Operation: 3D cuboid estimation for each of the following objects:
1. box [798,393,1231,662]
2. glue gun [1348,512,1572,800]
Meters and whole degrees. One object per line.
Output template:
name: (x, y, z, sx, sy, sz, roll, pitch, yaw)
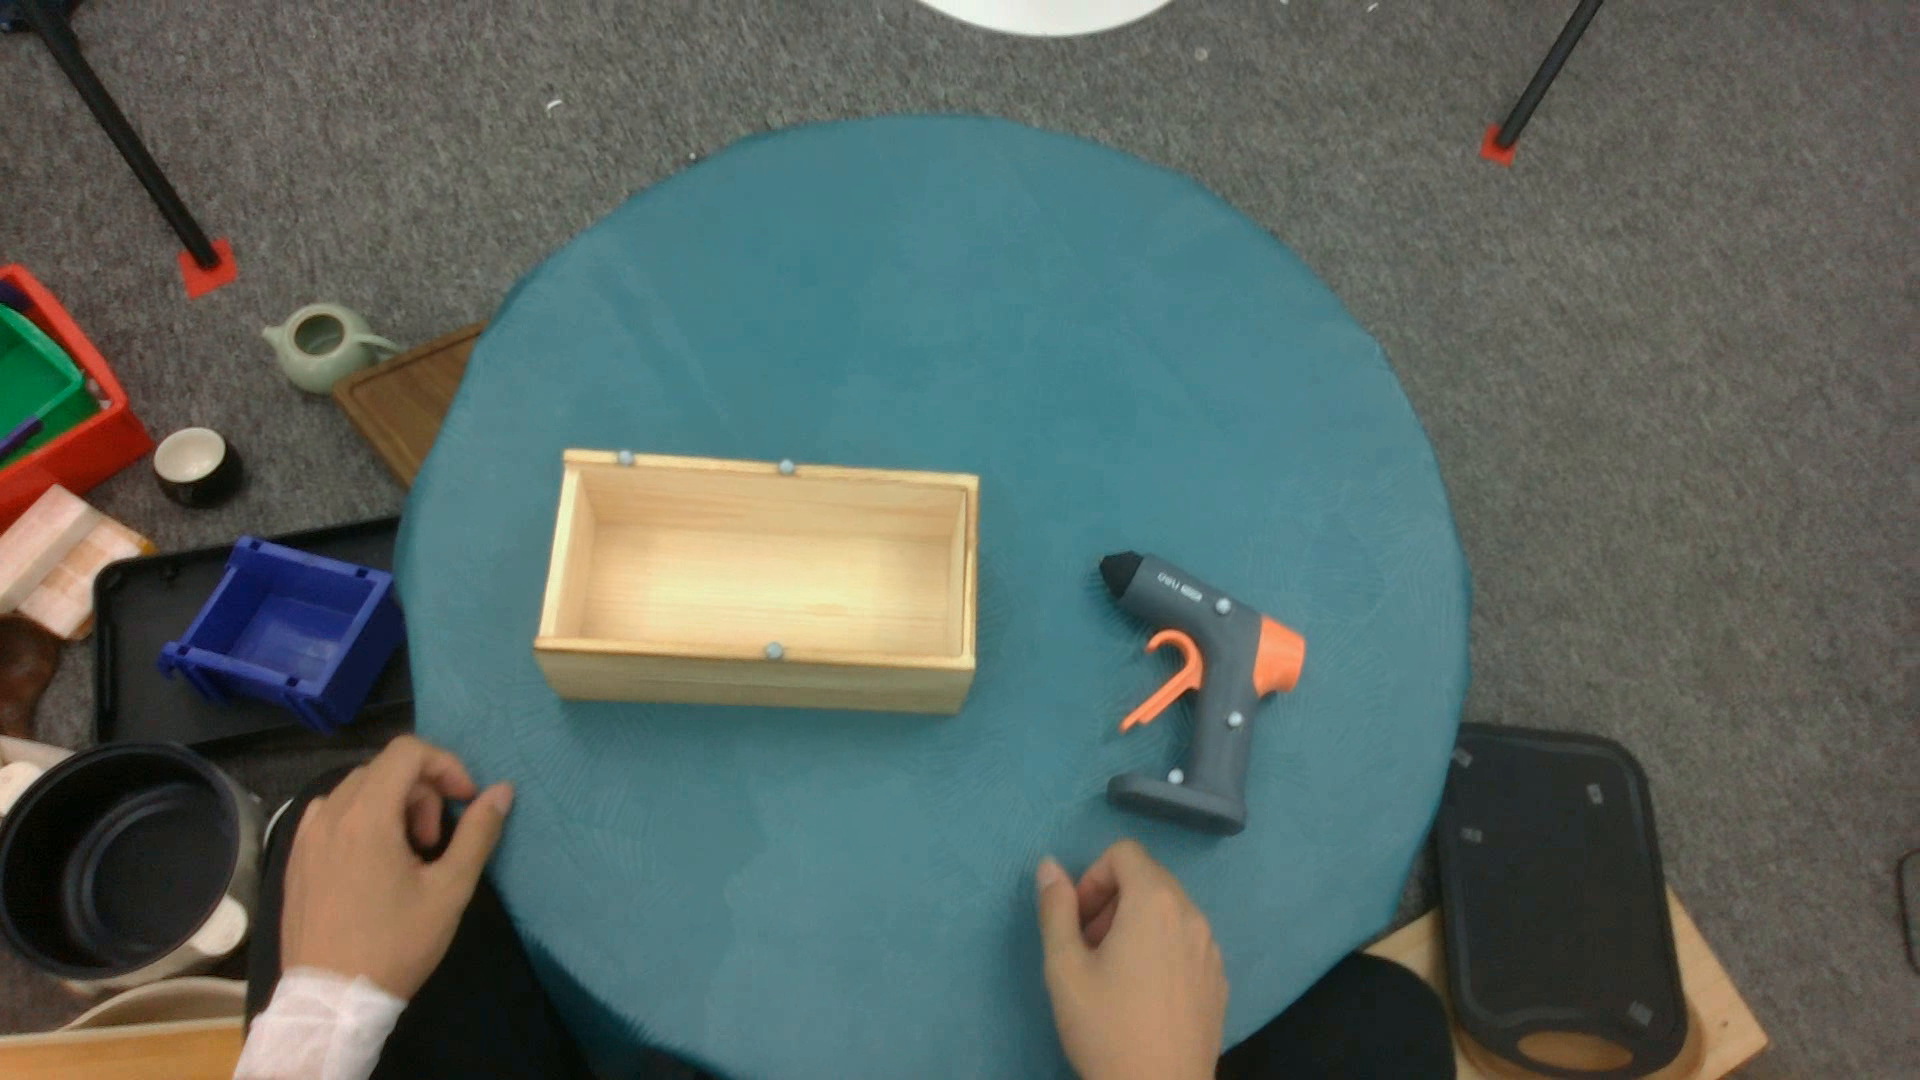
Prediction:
box: (0.031, -0.005, 0.734, 0.211, 0.080, 0.108, 5, 70, 5)
glue gun: (0.252, 0.057, 0.725, 0.118, 0.041, 0.140, 14, 68, 10)
